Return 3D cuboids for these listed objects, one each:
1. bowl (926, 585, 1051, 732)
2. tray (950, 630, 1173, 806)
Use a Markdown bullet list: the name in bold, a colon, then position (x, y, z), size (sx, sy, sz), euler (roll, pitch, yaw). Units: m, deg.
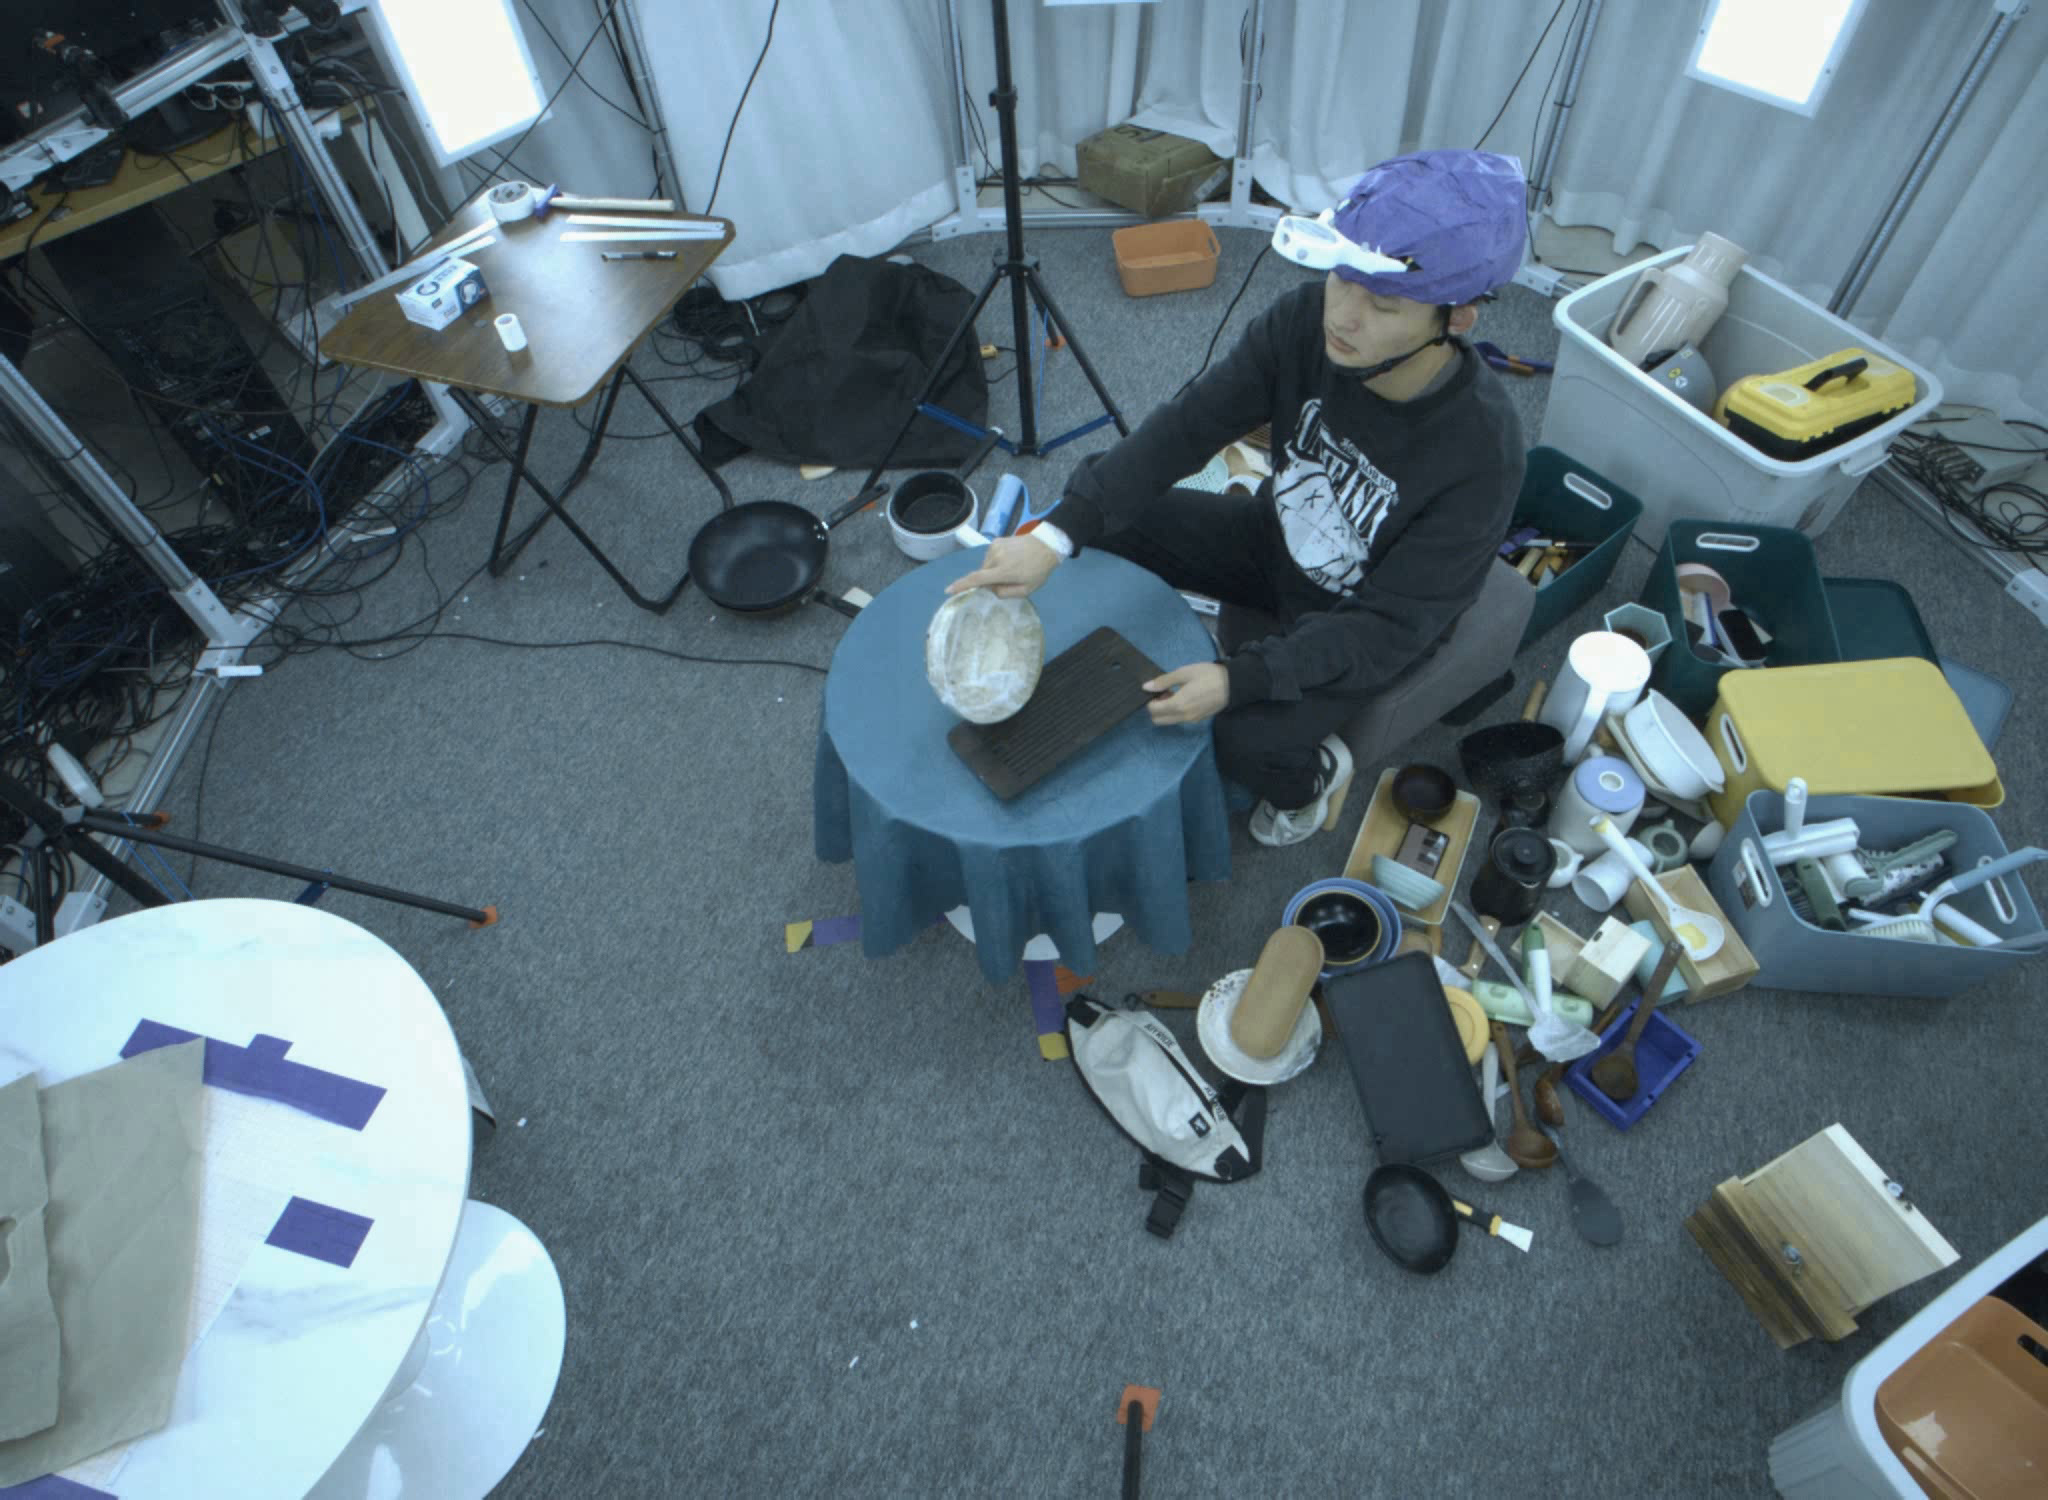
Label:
- **bowl**: position (-0.067, -0.136, 1.758), size (0.092, 0.219, 0.215), euler (12, 53, 42)
- **tray**: position (0.054, -0.049, 1.787), size (0.307, 0.019, 0.166), euler (-35, 52, -13)
